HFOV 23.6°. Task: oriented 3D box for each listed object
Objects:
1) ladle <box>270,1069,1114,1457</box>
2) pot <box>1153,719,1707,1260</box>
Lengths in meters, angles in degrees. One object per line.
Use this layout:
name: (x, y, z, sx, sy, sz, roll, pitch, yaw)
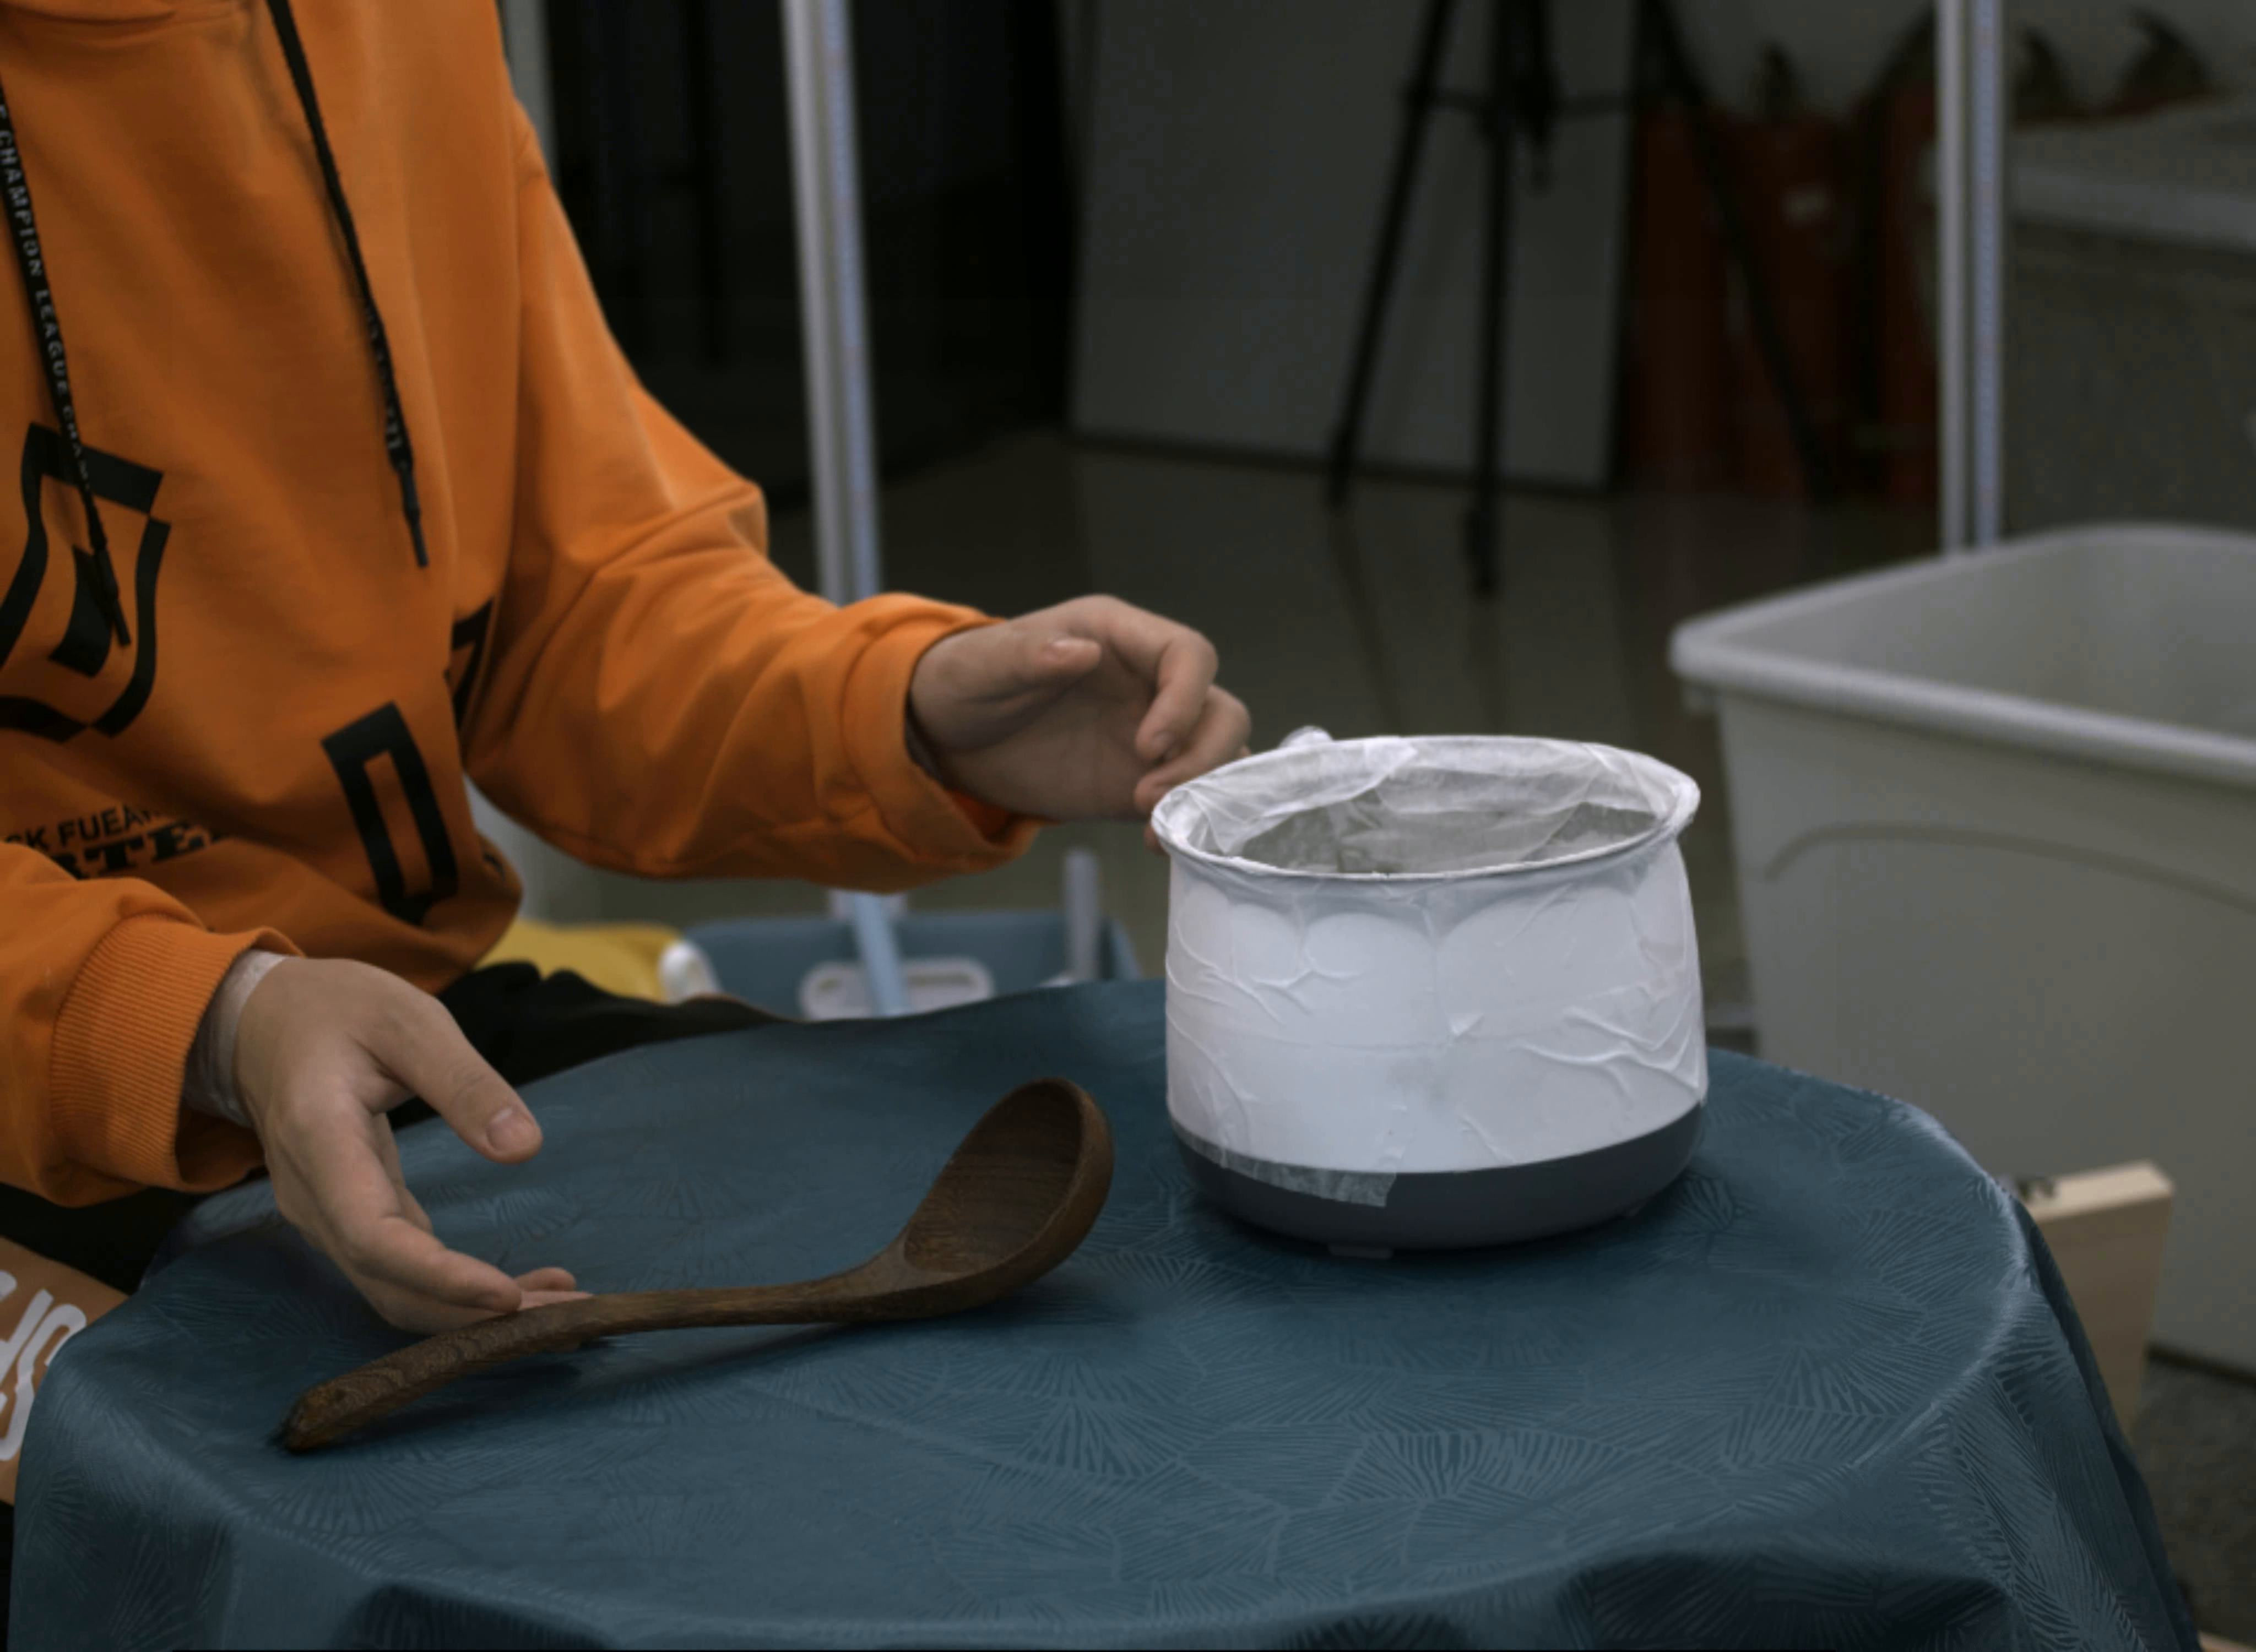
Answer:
ladle: (-0.130, 0.129, 1.630, 0.268, 0.072, 0.077, -9, 11, -23)
pot: (0.088, 0.047, 1.757, 0.175, 0.138, 0.236, -8, 15, -20)
